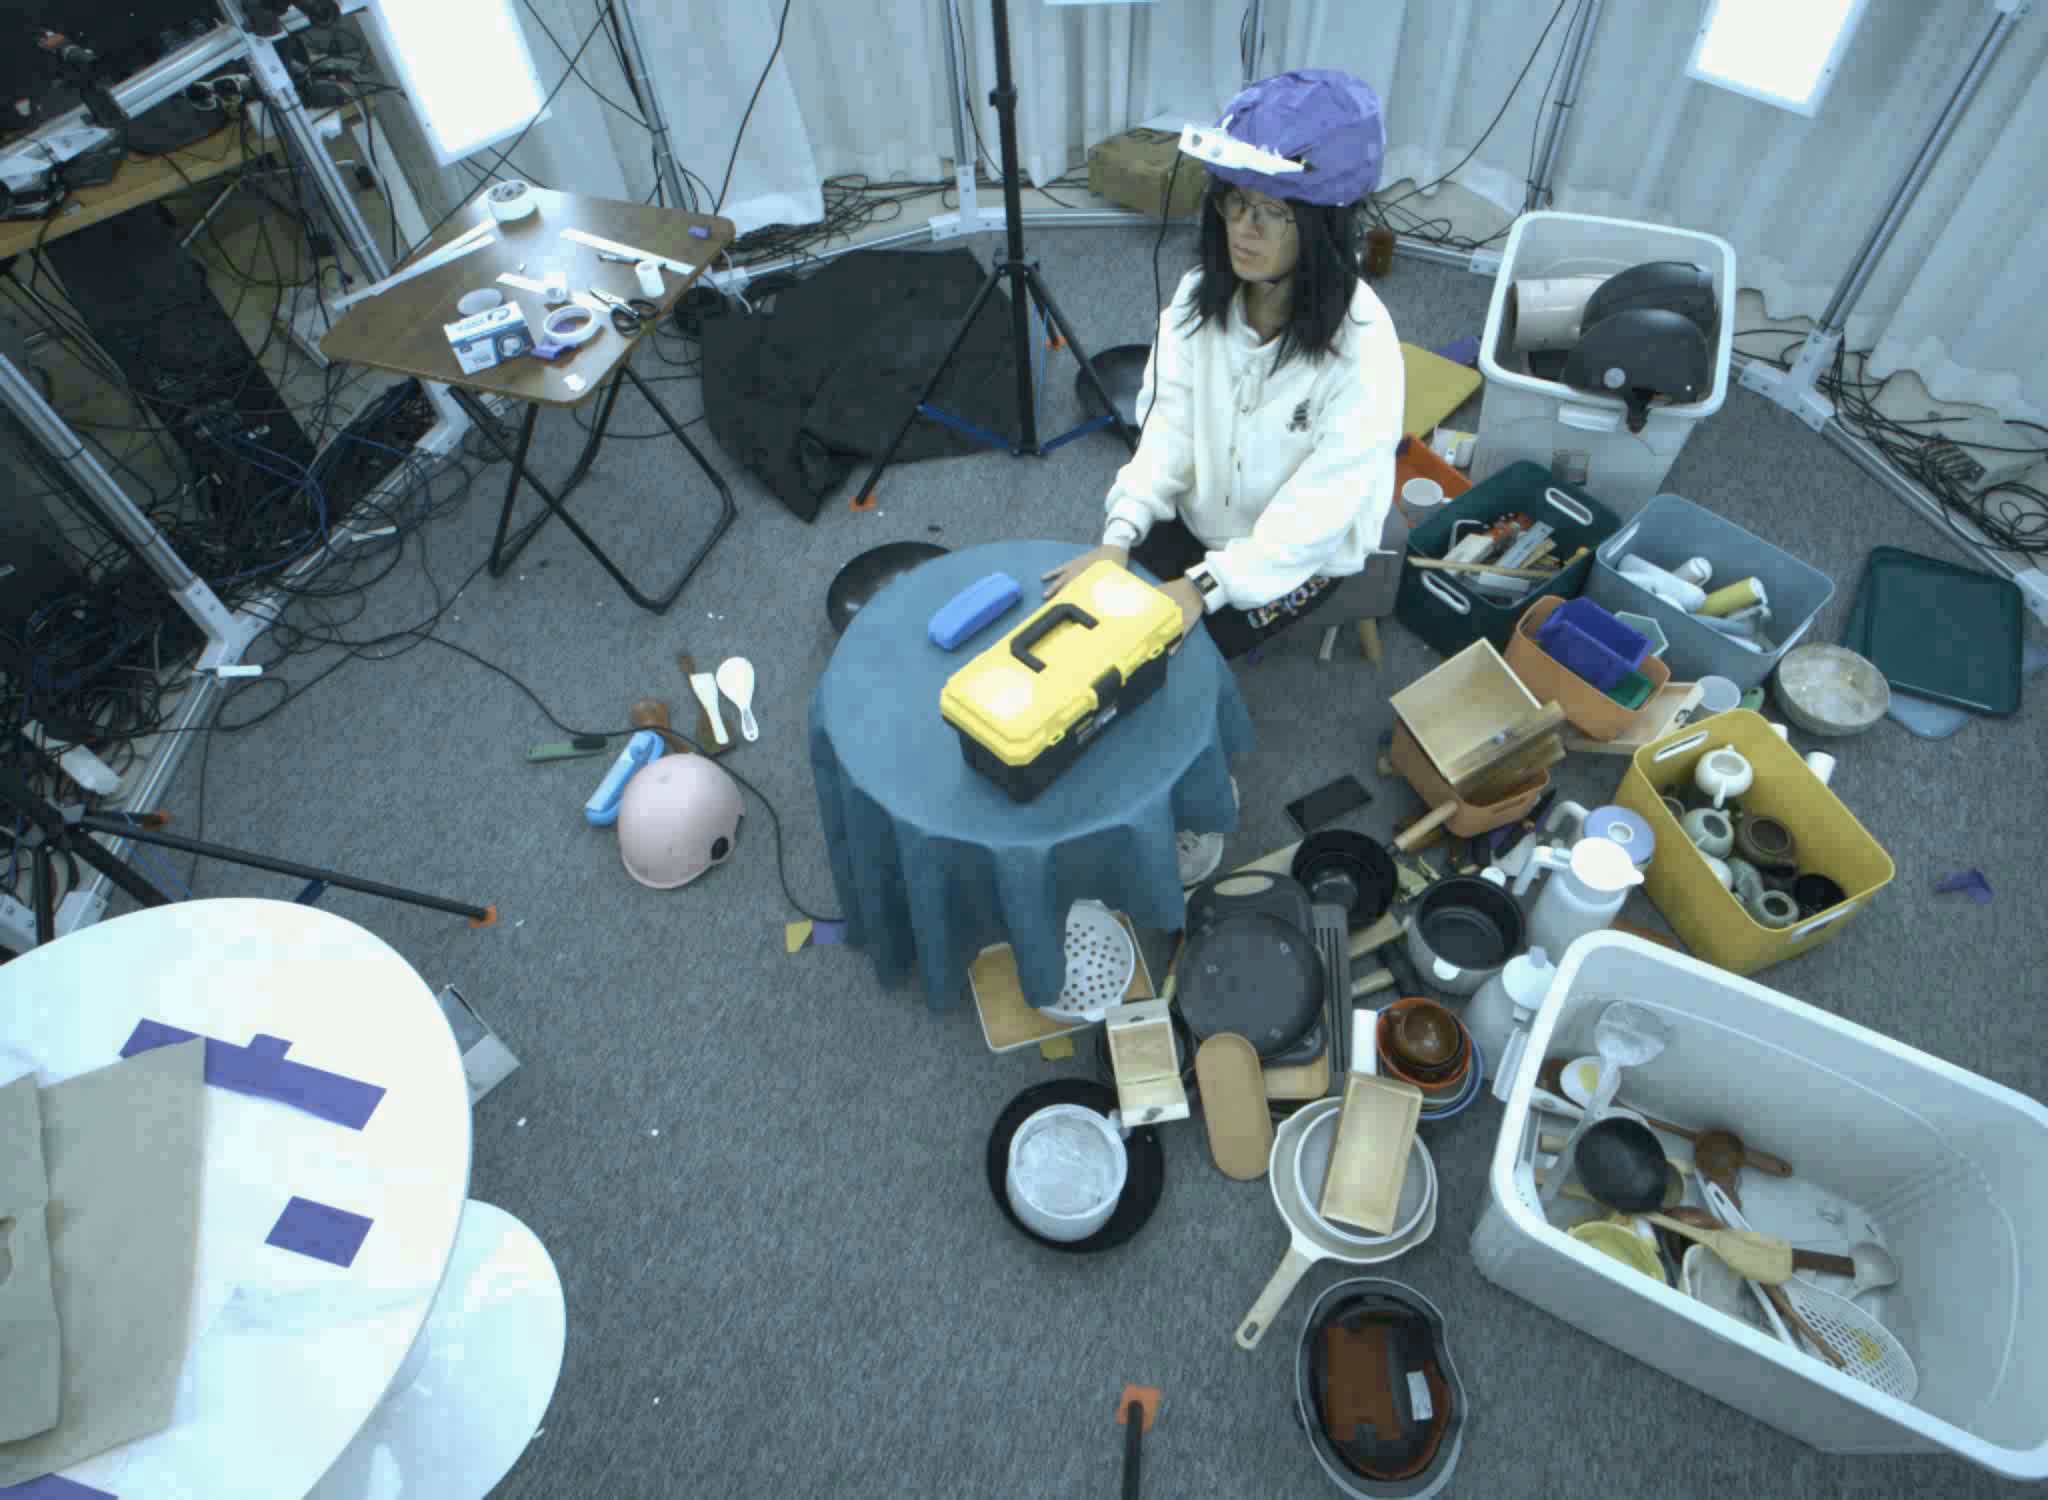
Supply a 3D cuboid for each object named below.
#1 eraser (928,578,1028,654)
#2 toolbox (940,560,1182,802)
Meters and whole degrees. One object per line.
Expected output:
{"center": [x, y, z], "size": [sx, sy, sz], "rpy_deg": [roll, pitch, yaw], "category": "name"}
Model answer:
{"center": [-0.073, -0.214, 1.909], "size": [0.163, 0.048, 0.053], "rpy_deg": [-31, 57, -16], "category": "eraser"}
{"center": [0.059, -0.097, 1.748], "size": [0.178, 0.175, 0.354], "rpy_deg": [37, 64, 26], "category": "toolbox"}
